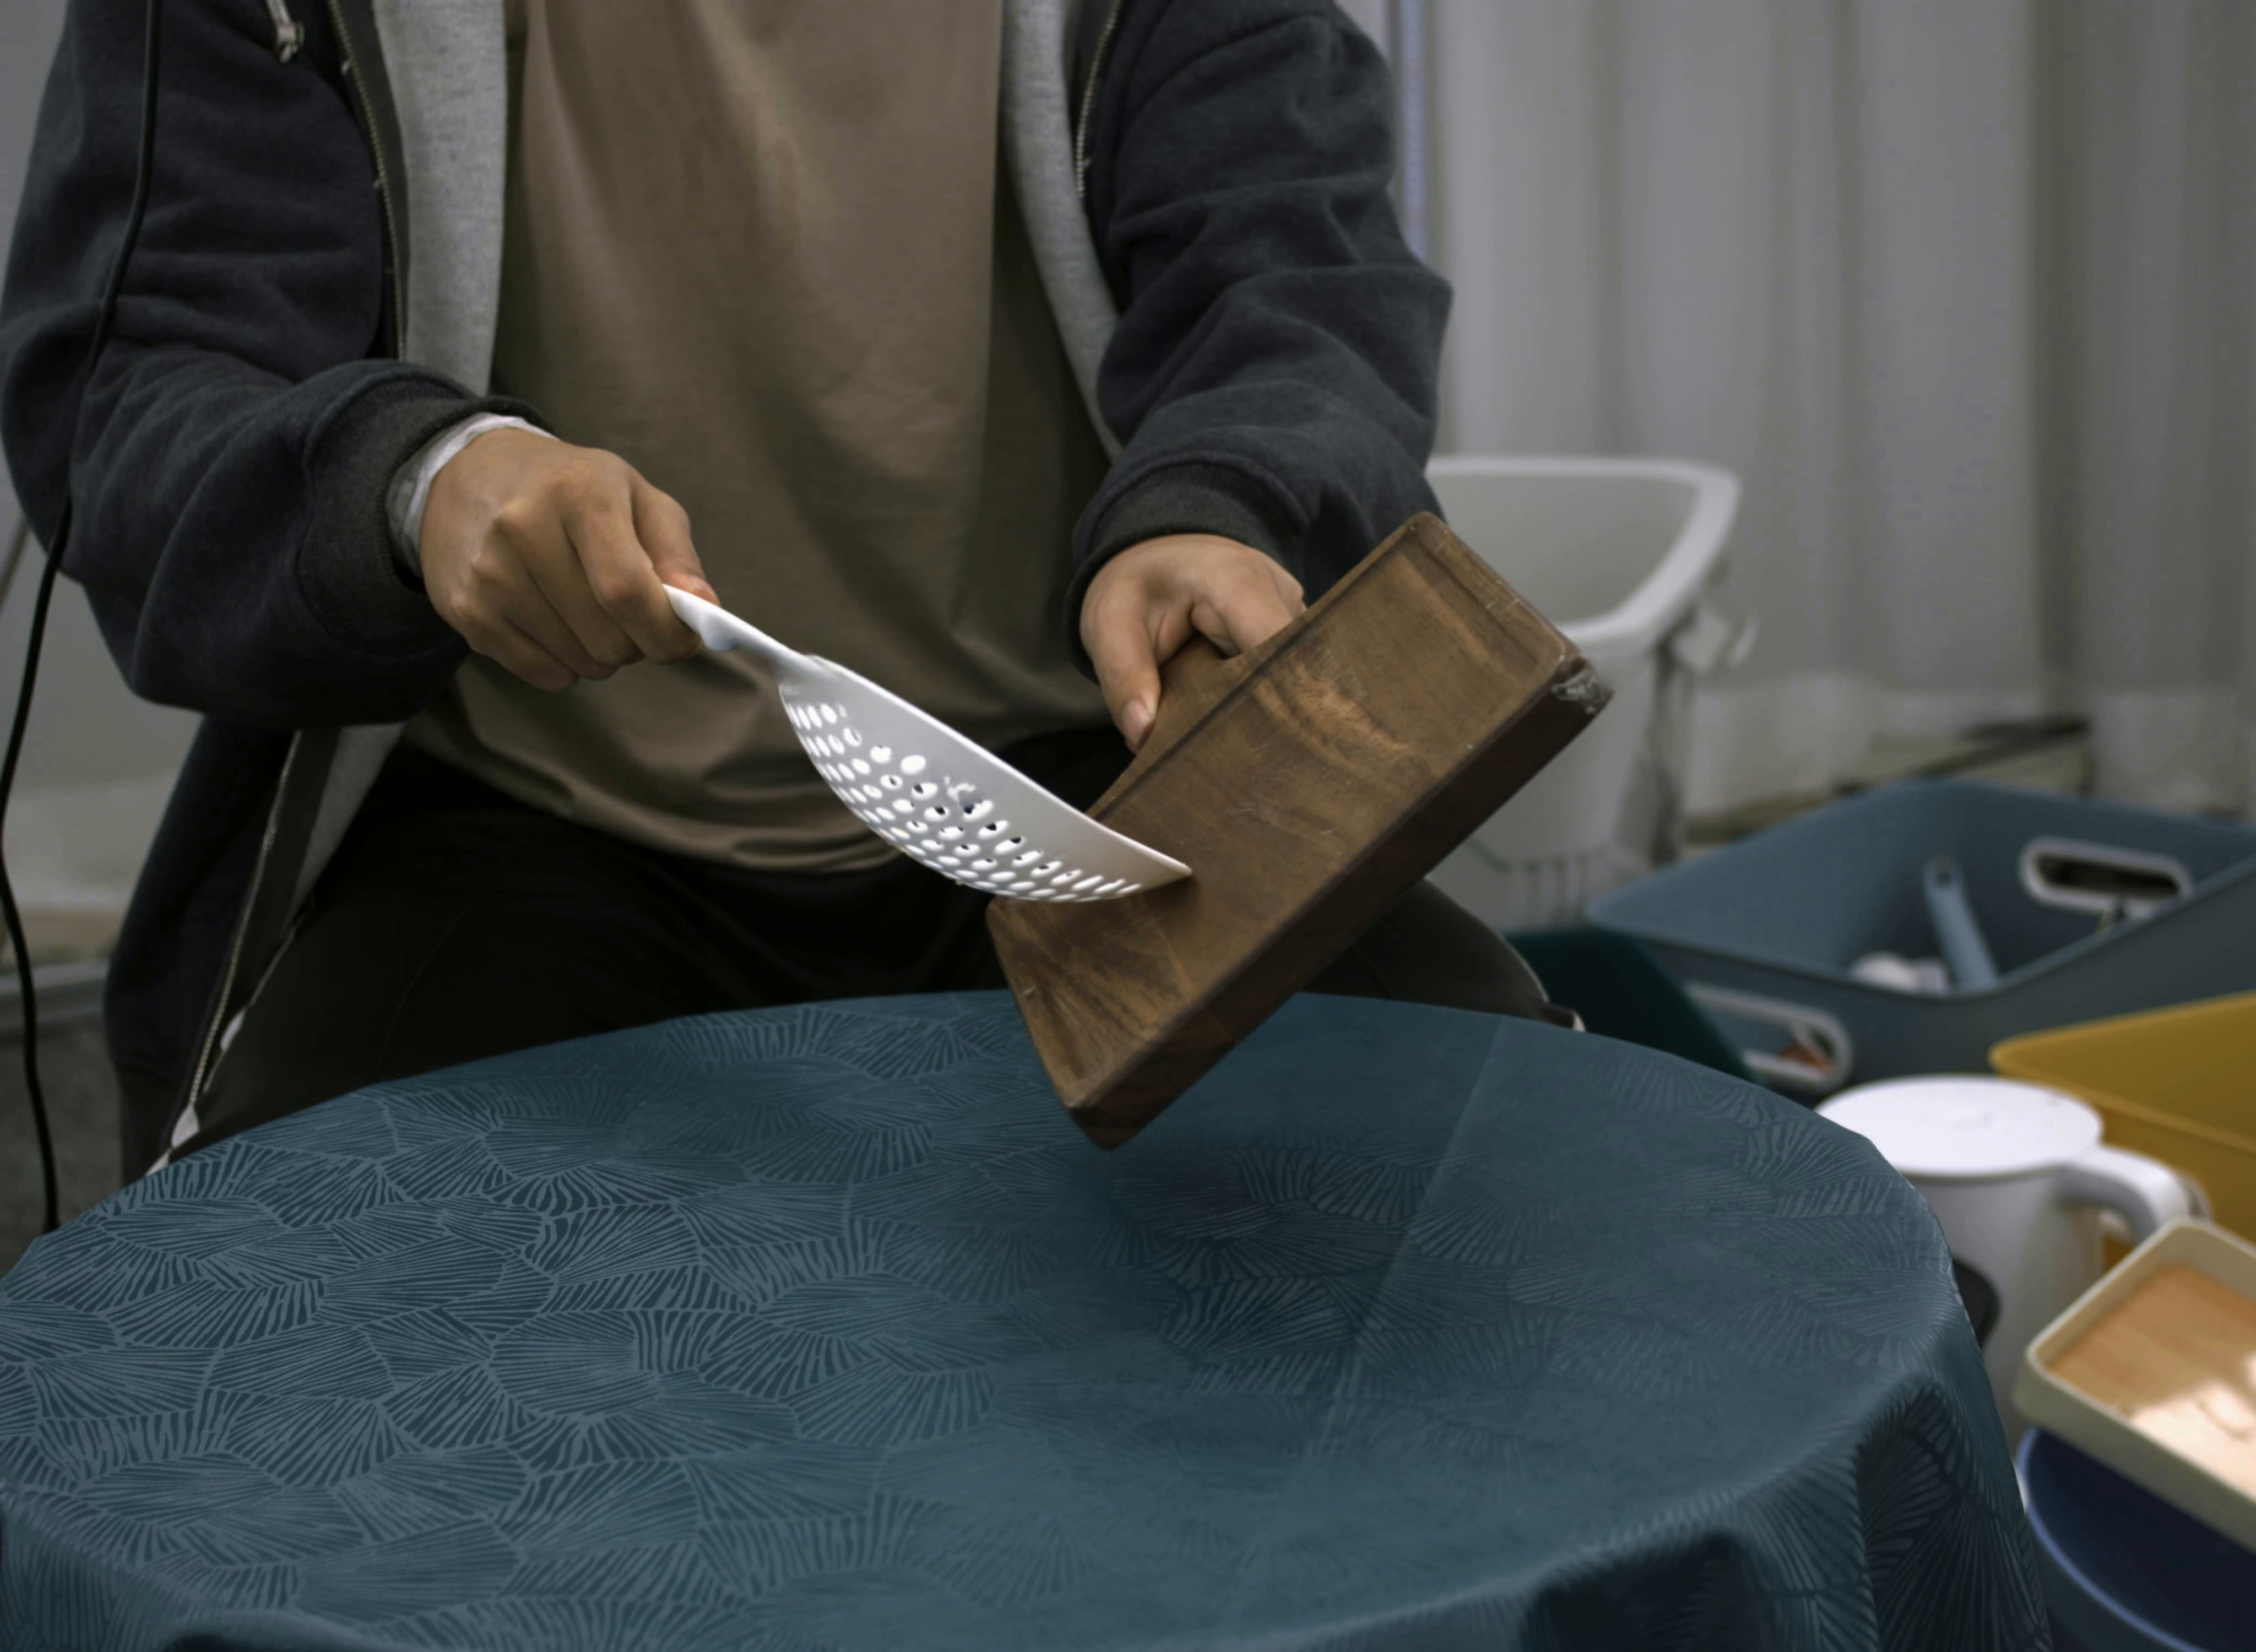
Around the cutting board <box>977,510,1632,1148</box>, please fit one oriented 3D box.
[{"bbox_3d":[0.040,-0.016,1.693,0.201,0.023,0.354,-42,15,2],"label":"cutting board"}]

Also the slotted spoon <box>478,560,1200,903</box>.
[{"bbox_3d":[-0.107,-0.042,1.723,0.135,0.050,0.351,31,2,-38],"label":"slotted spoon"}]
